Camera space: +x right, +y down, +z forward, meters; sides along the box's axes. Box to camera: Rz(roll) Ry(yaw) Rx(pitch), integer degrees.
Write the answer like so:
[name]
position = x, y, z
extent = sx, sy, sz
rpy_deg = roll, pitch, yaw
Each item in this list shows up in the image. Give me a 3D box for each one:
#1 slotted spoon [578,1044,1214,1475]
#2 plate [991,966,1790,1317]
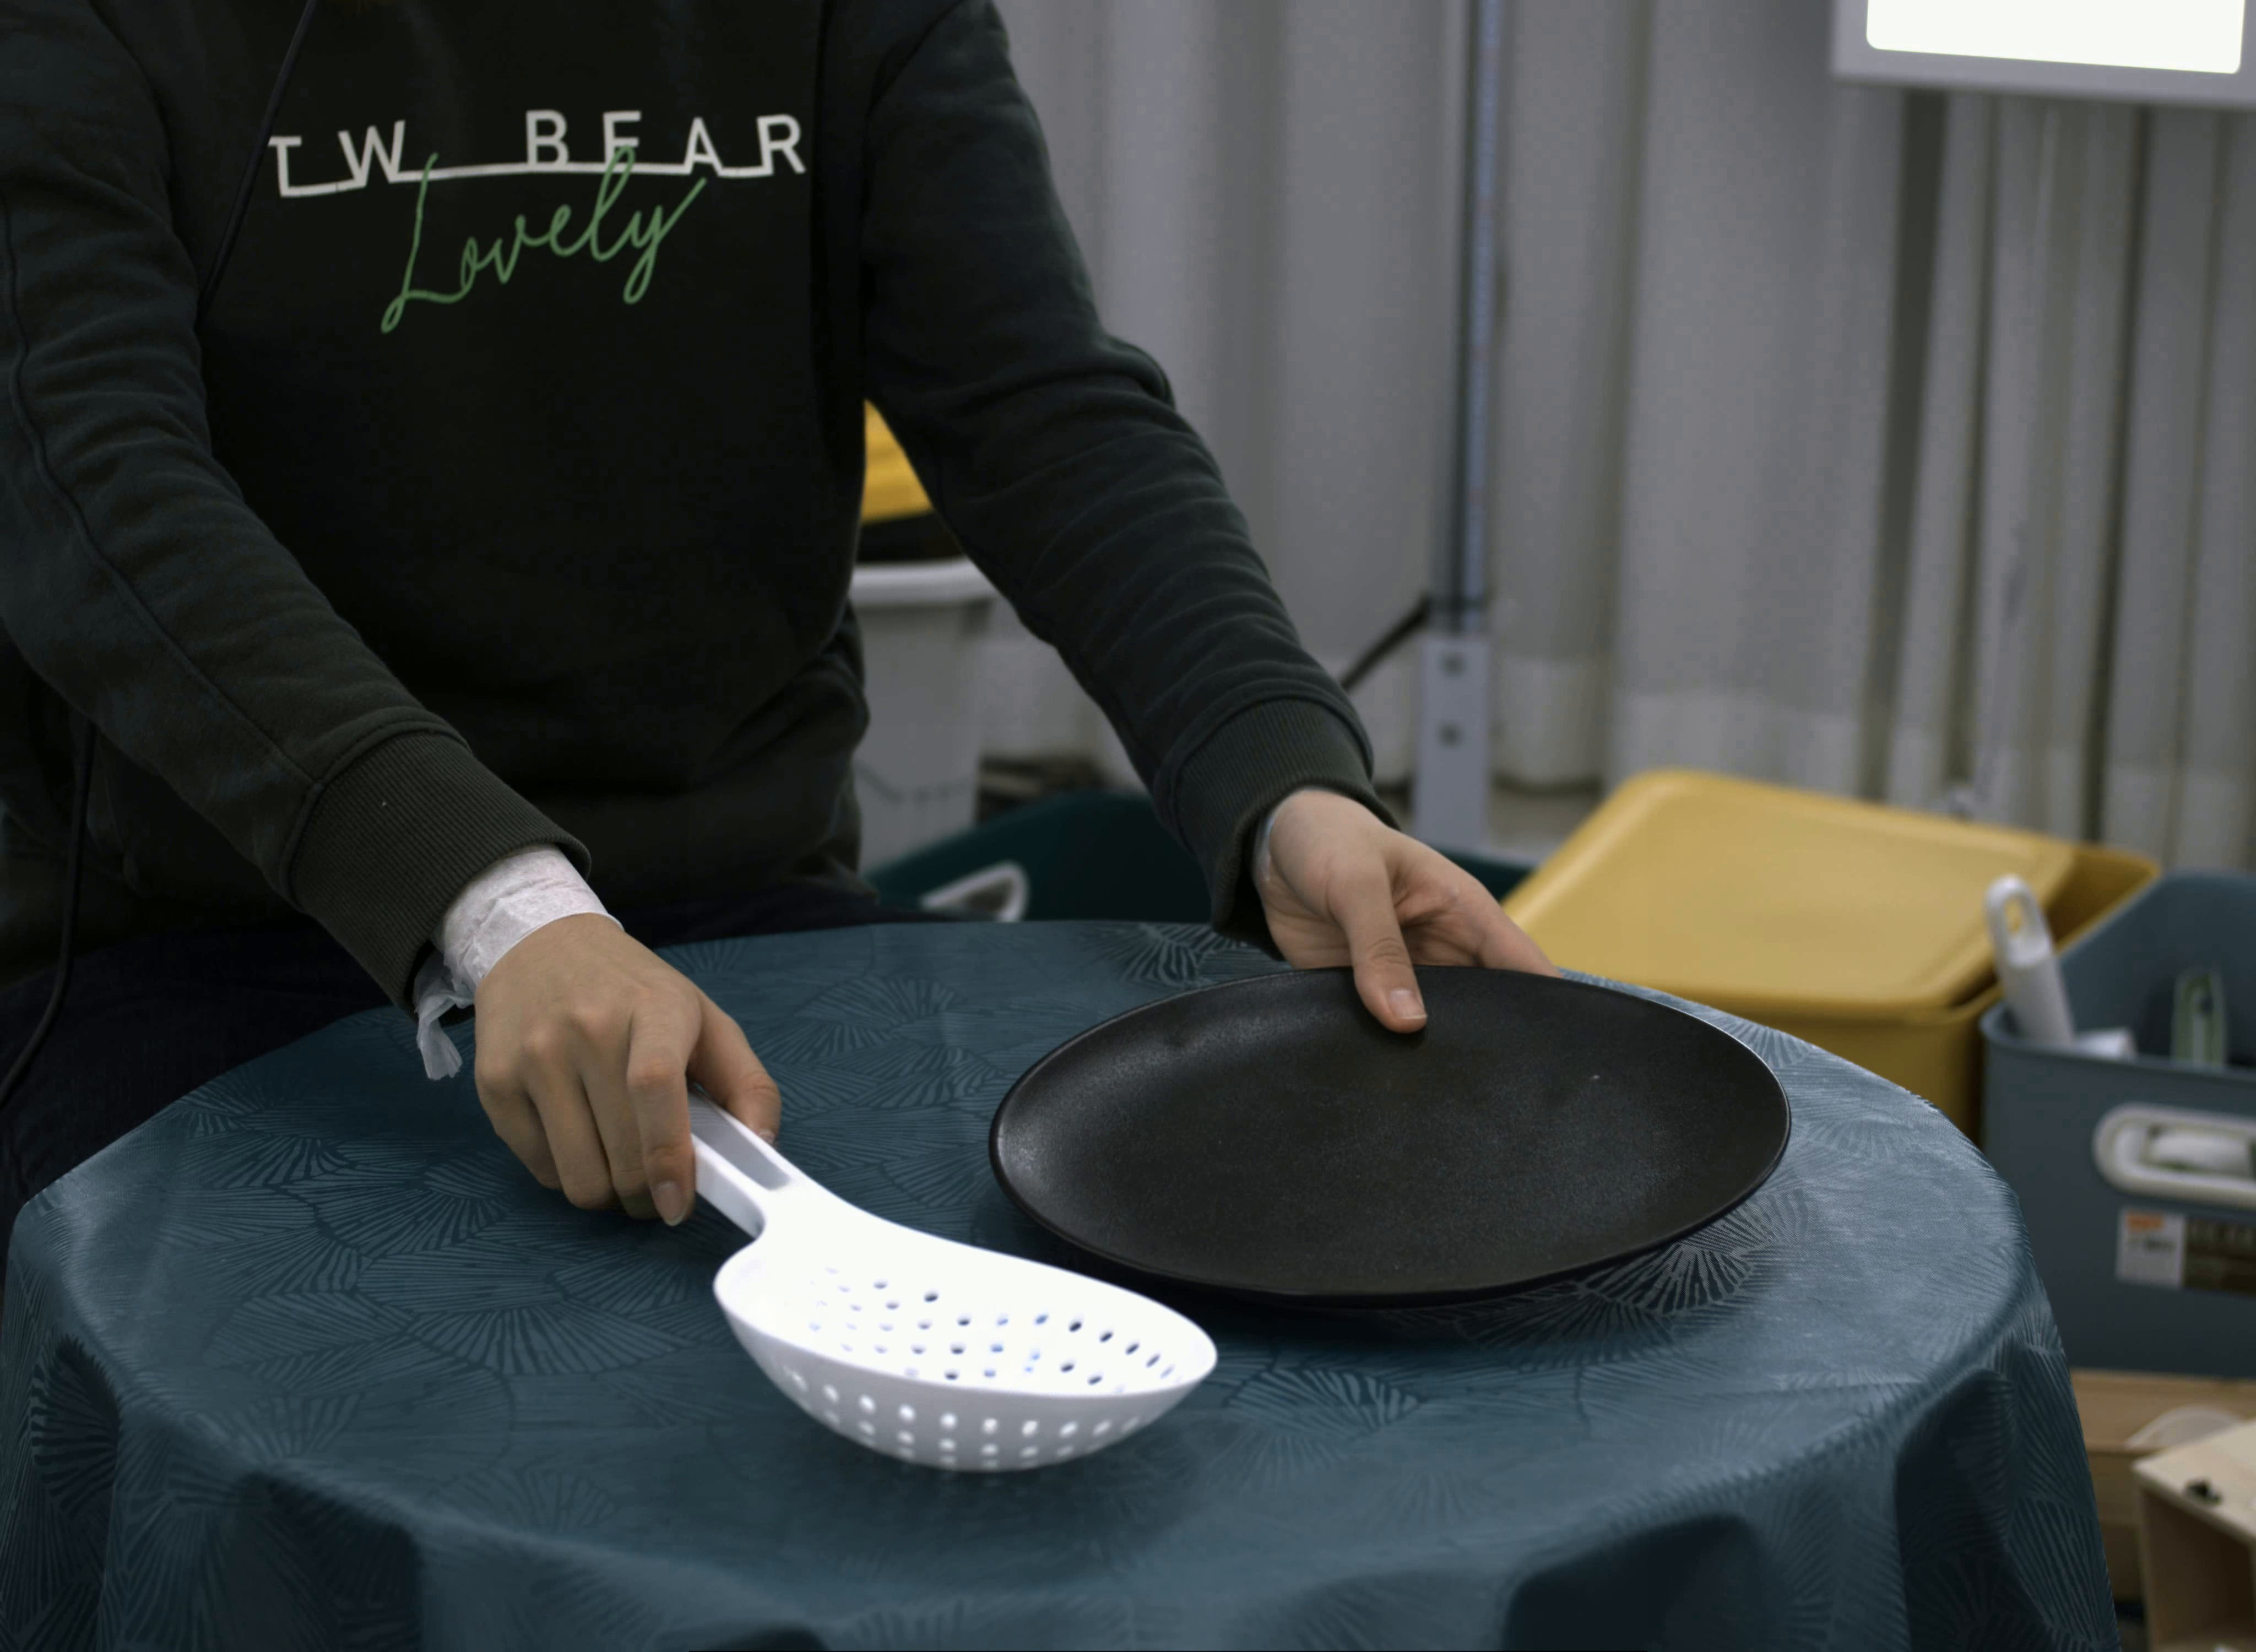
[slotted spoon]
position = -0.090, 0.115, 1.501
extent = 0.137, 0.046, 0.345
rpy_deg = 5, 16, -27
[plate]
position = 0.080, 0.098, 1.603
extent = 0.243, 0.023, 0.243
rpy_deg = -2, 21, 1
